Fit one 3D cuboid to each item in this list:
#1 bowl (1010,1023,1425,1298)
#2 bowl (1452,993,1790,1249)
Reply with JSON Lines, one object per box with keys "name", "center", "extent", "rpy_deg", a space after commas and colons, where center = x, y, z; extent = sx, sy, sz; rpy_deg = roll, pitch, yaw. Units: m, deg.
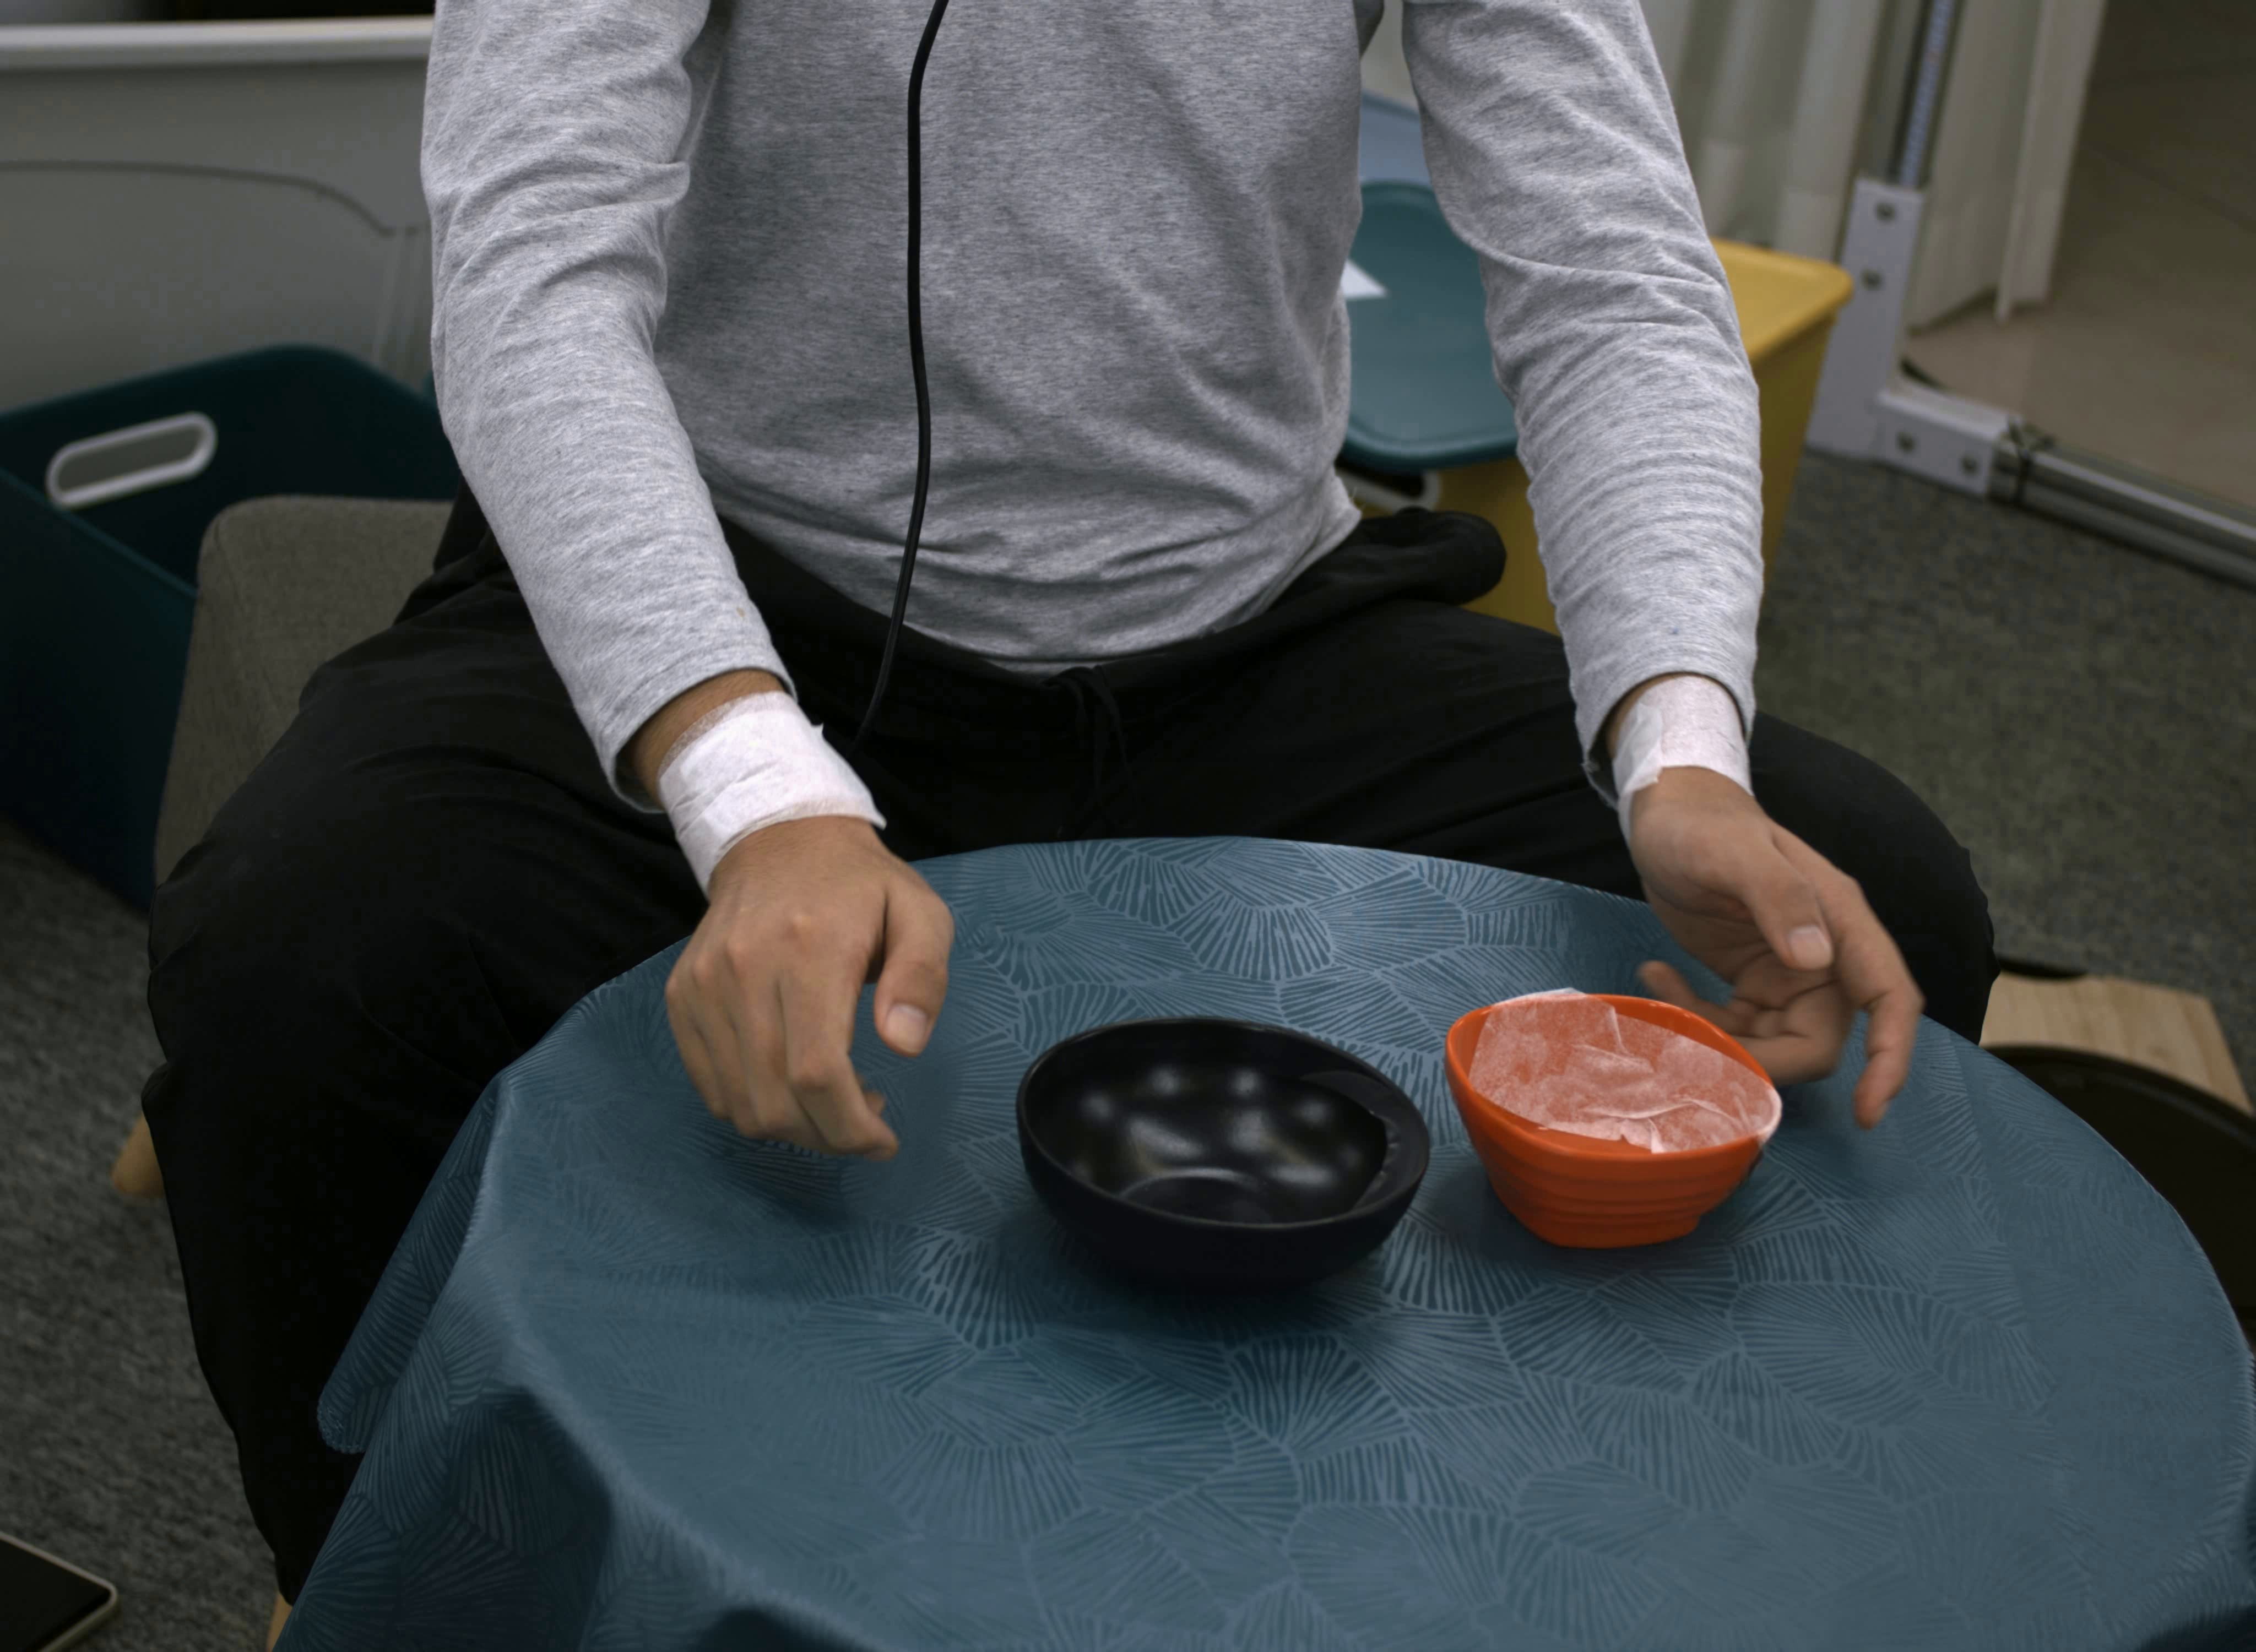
{"name": "bowl", "center": [0.028, 0.119, 1.771], "extent": [0.139, 0.049, 0.141], "rpy_deg": [5, 24, -3]}
{"name": "bowl", "center": [0.166, 0.105, 1.822], "extent": [0.118, 0.051, 0.119], "rpy_deg": [4, 27, -2]}
